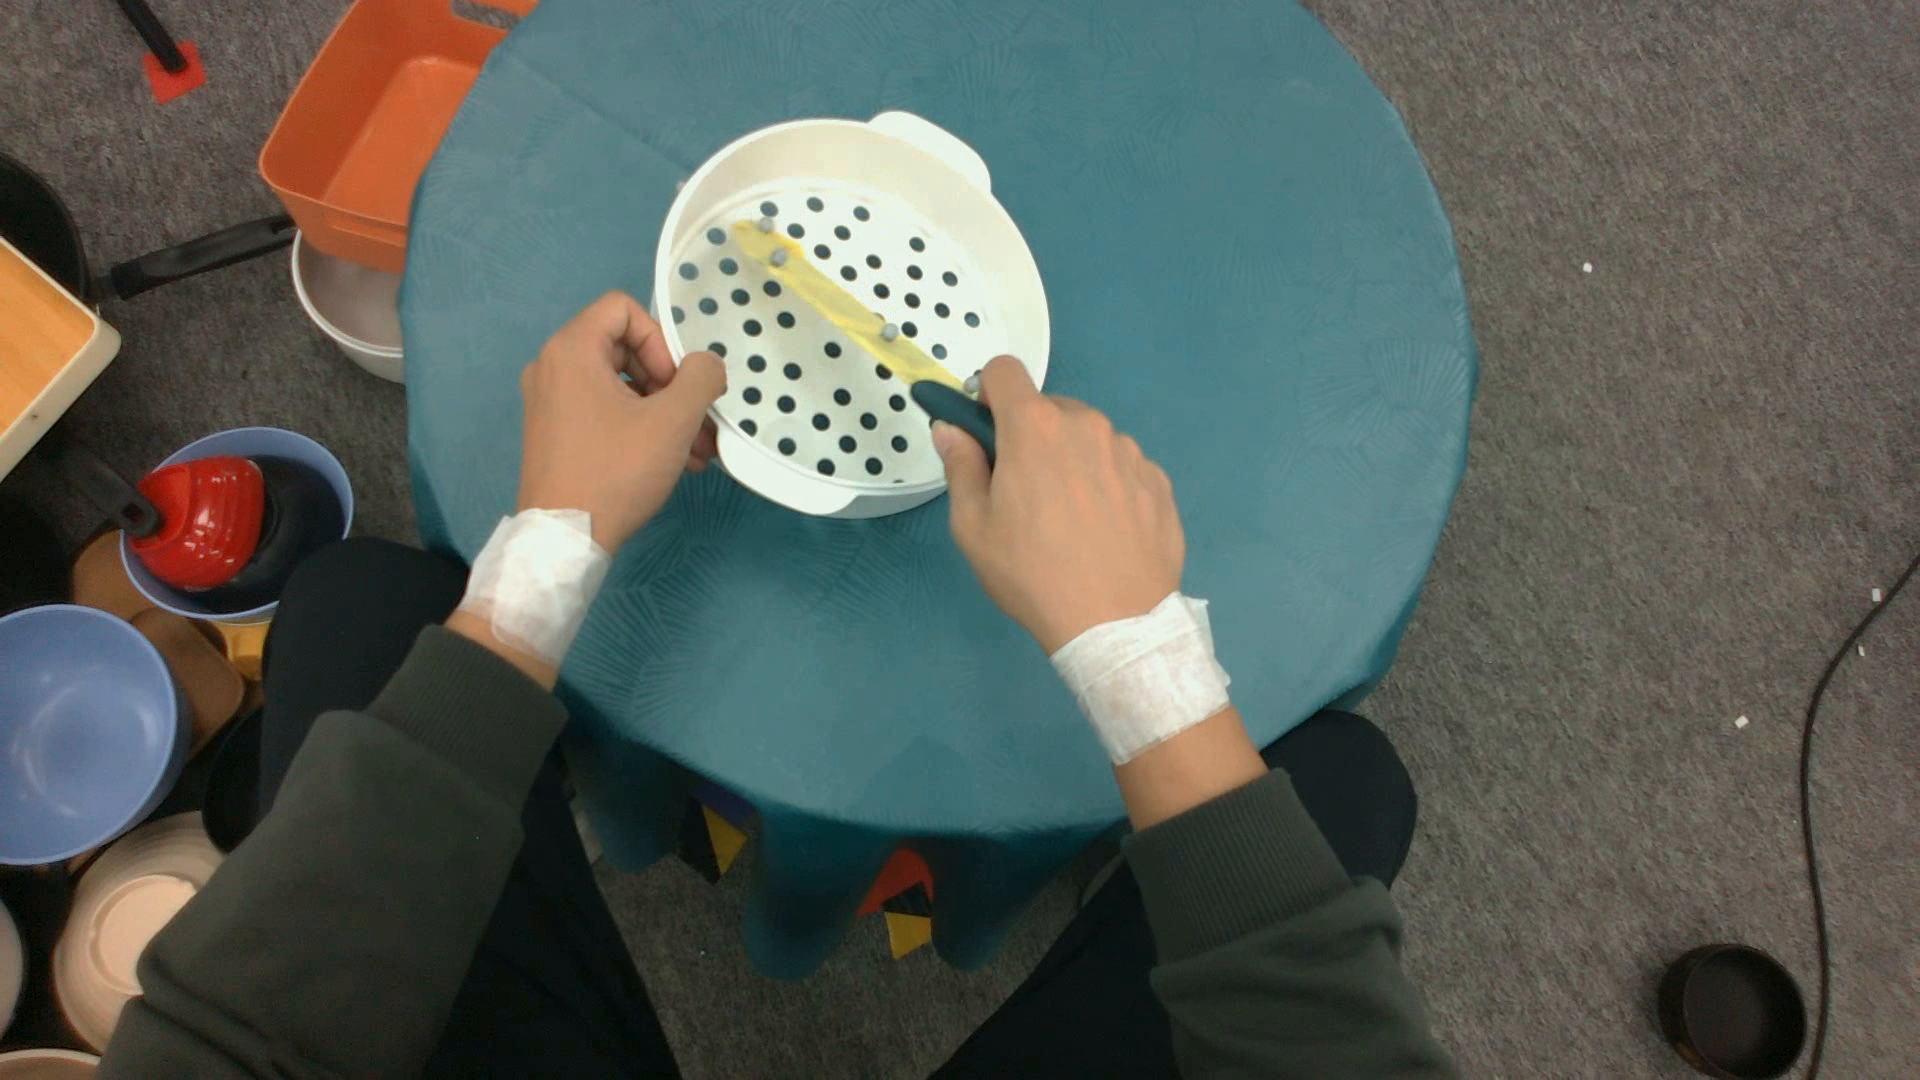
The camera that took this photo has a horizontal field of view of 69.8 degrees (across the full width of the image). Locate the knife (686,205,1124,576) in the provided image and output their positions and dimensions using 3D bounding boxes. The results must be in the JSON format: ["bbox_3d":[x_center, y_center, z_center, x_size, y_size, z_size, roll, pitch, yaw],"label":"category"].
[{"bbox_3d":[-0.031,-0.080,0.649,0.289,0.081,0.027,41,110,20],"label":"knife"}]

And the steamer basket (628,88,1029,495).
[{"bbox_3d":[-0.069,-0.122,0.706,0.202,0.069,0.231,27,67,-12],"label":"steamer basket"}]
